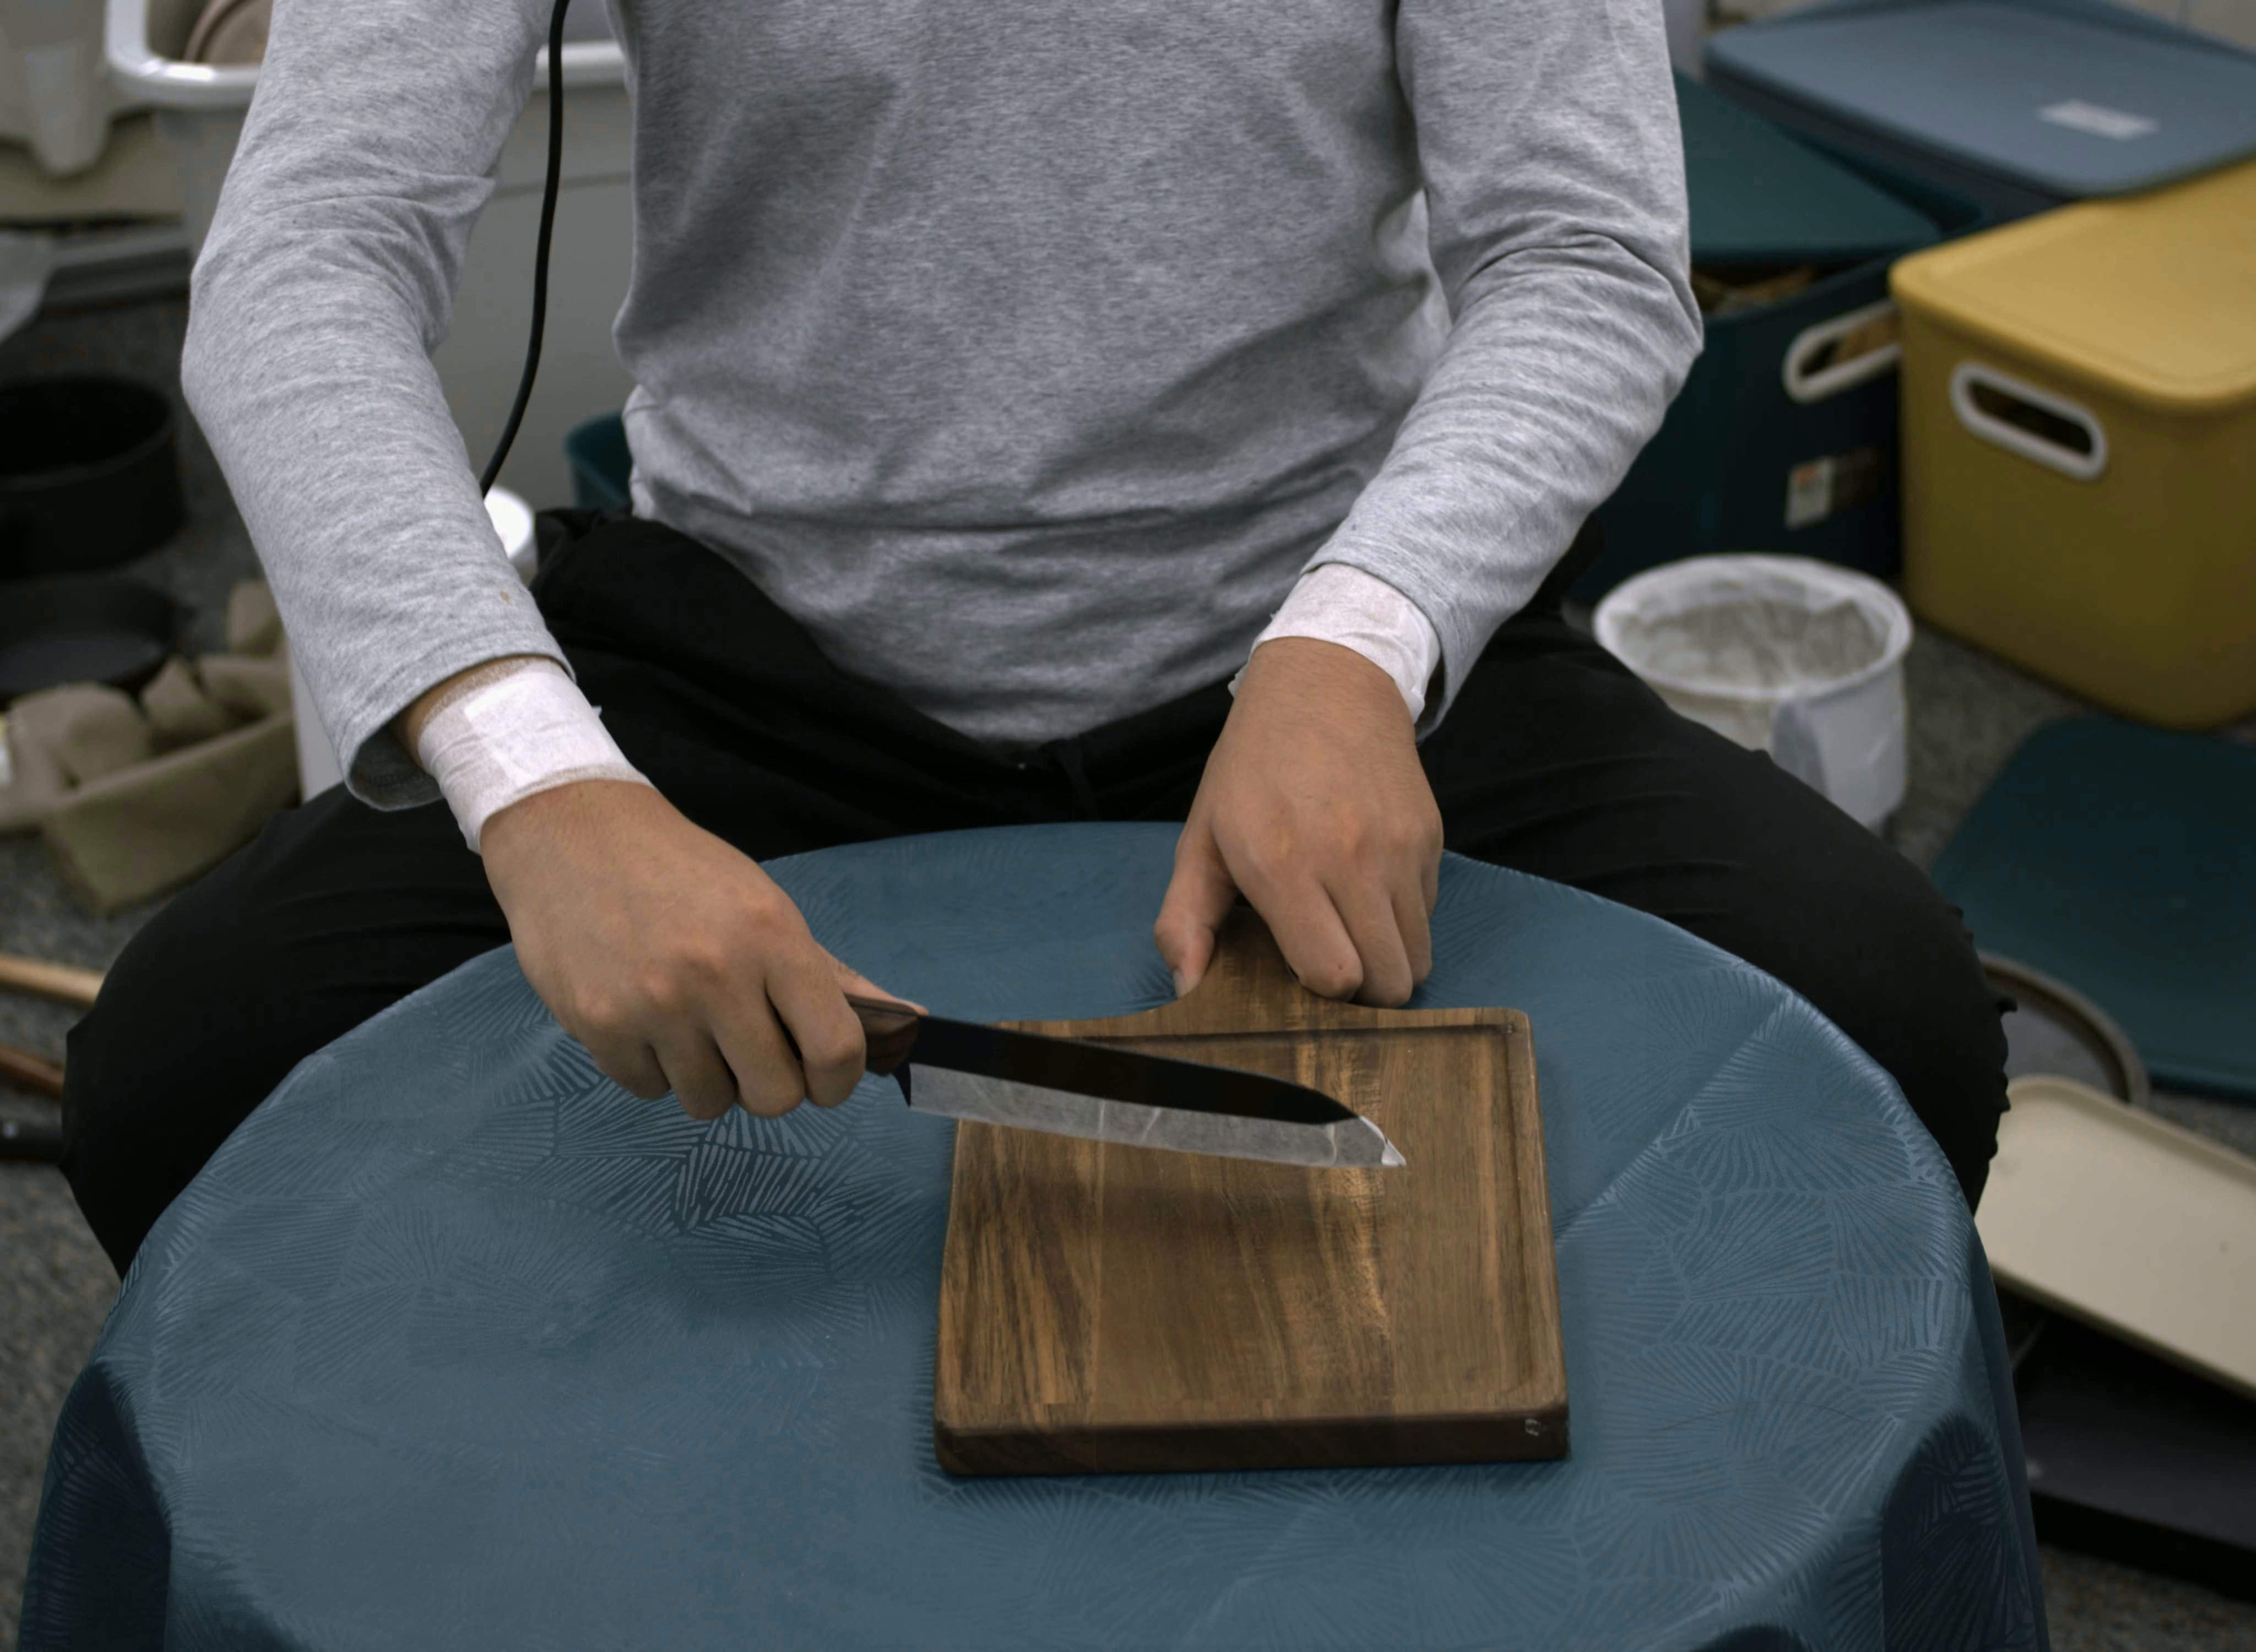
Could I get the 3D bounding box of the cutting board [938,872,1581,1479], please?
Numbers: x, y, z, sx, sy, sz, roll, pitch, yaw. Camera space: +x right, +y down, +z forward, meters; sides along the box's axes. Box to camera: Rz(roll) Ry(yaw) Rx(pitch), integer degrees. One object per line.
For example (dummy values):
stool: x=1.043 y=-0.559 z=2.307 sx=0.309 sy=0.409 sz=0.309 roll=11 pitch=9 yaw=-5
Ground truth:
cutting board: x=0.041 y=0.107 z=1.864 sx=0.200 sy=0.023 sz=0.357 roll=-1 pitch=27 yaw=2

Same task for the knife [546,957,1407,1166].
knife: x=-0.050 y=0.079 z=1.829 sx=0.287 sy=0.049 sz=0.020 roll=11 pitch=45 yaw=7
